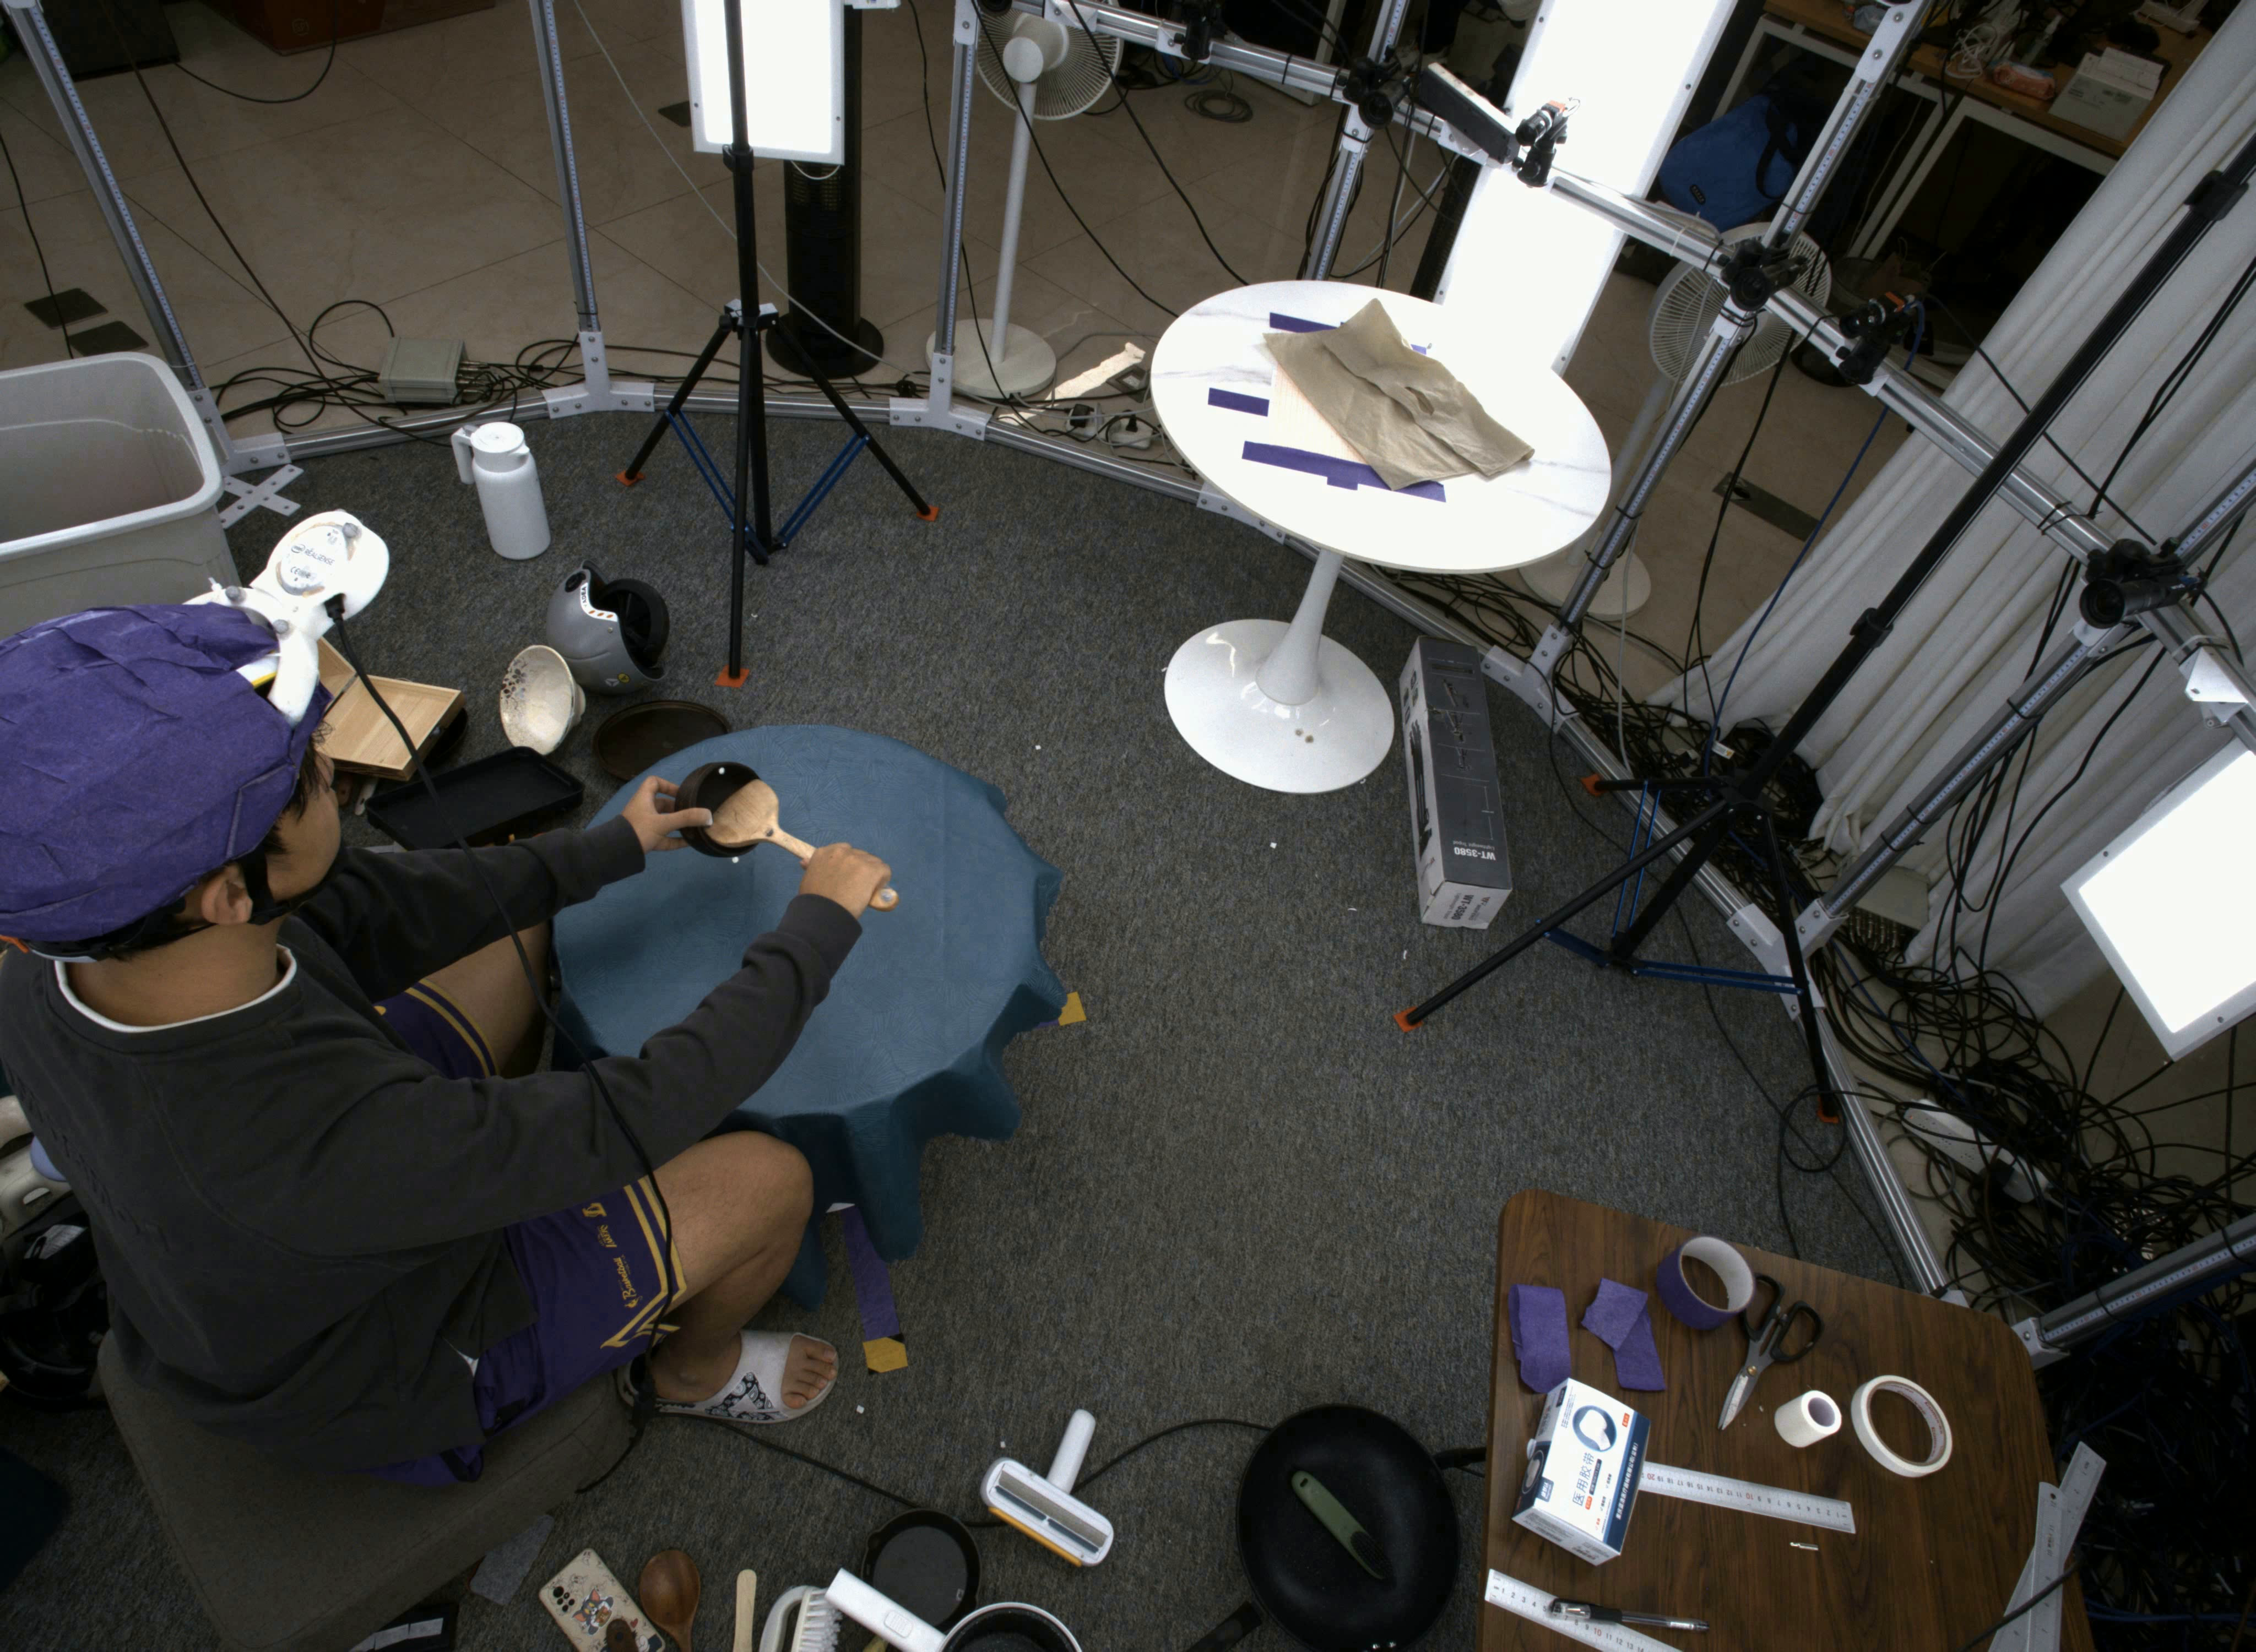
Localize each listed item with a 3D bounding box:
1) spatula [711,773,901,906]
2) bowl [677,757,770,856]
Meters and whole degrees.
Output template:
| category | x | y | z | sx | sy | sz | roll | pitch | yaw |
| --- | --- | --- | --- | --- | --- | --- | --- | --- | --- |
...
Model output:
| category | x | y | z | sx | sy | sz | roll | pitch | yaw |
| --- | --- | --- | --- | --- | --- | --- | --- | --- | --- |
| spatula | -0.359 | 0.017 | 1.454 | 0.376 | 0.019 | 0.096 | 21 | 65 | 45 |
| bowl | -0.501 | -0.026 | 1.586 | 0.067 | 0.122 | 0.118 | 7 | 39 | 42 |
